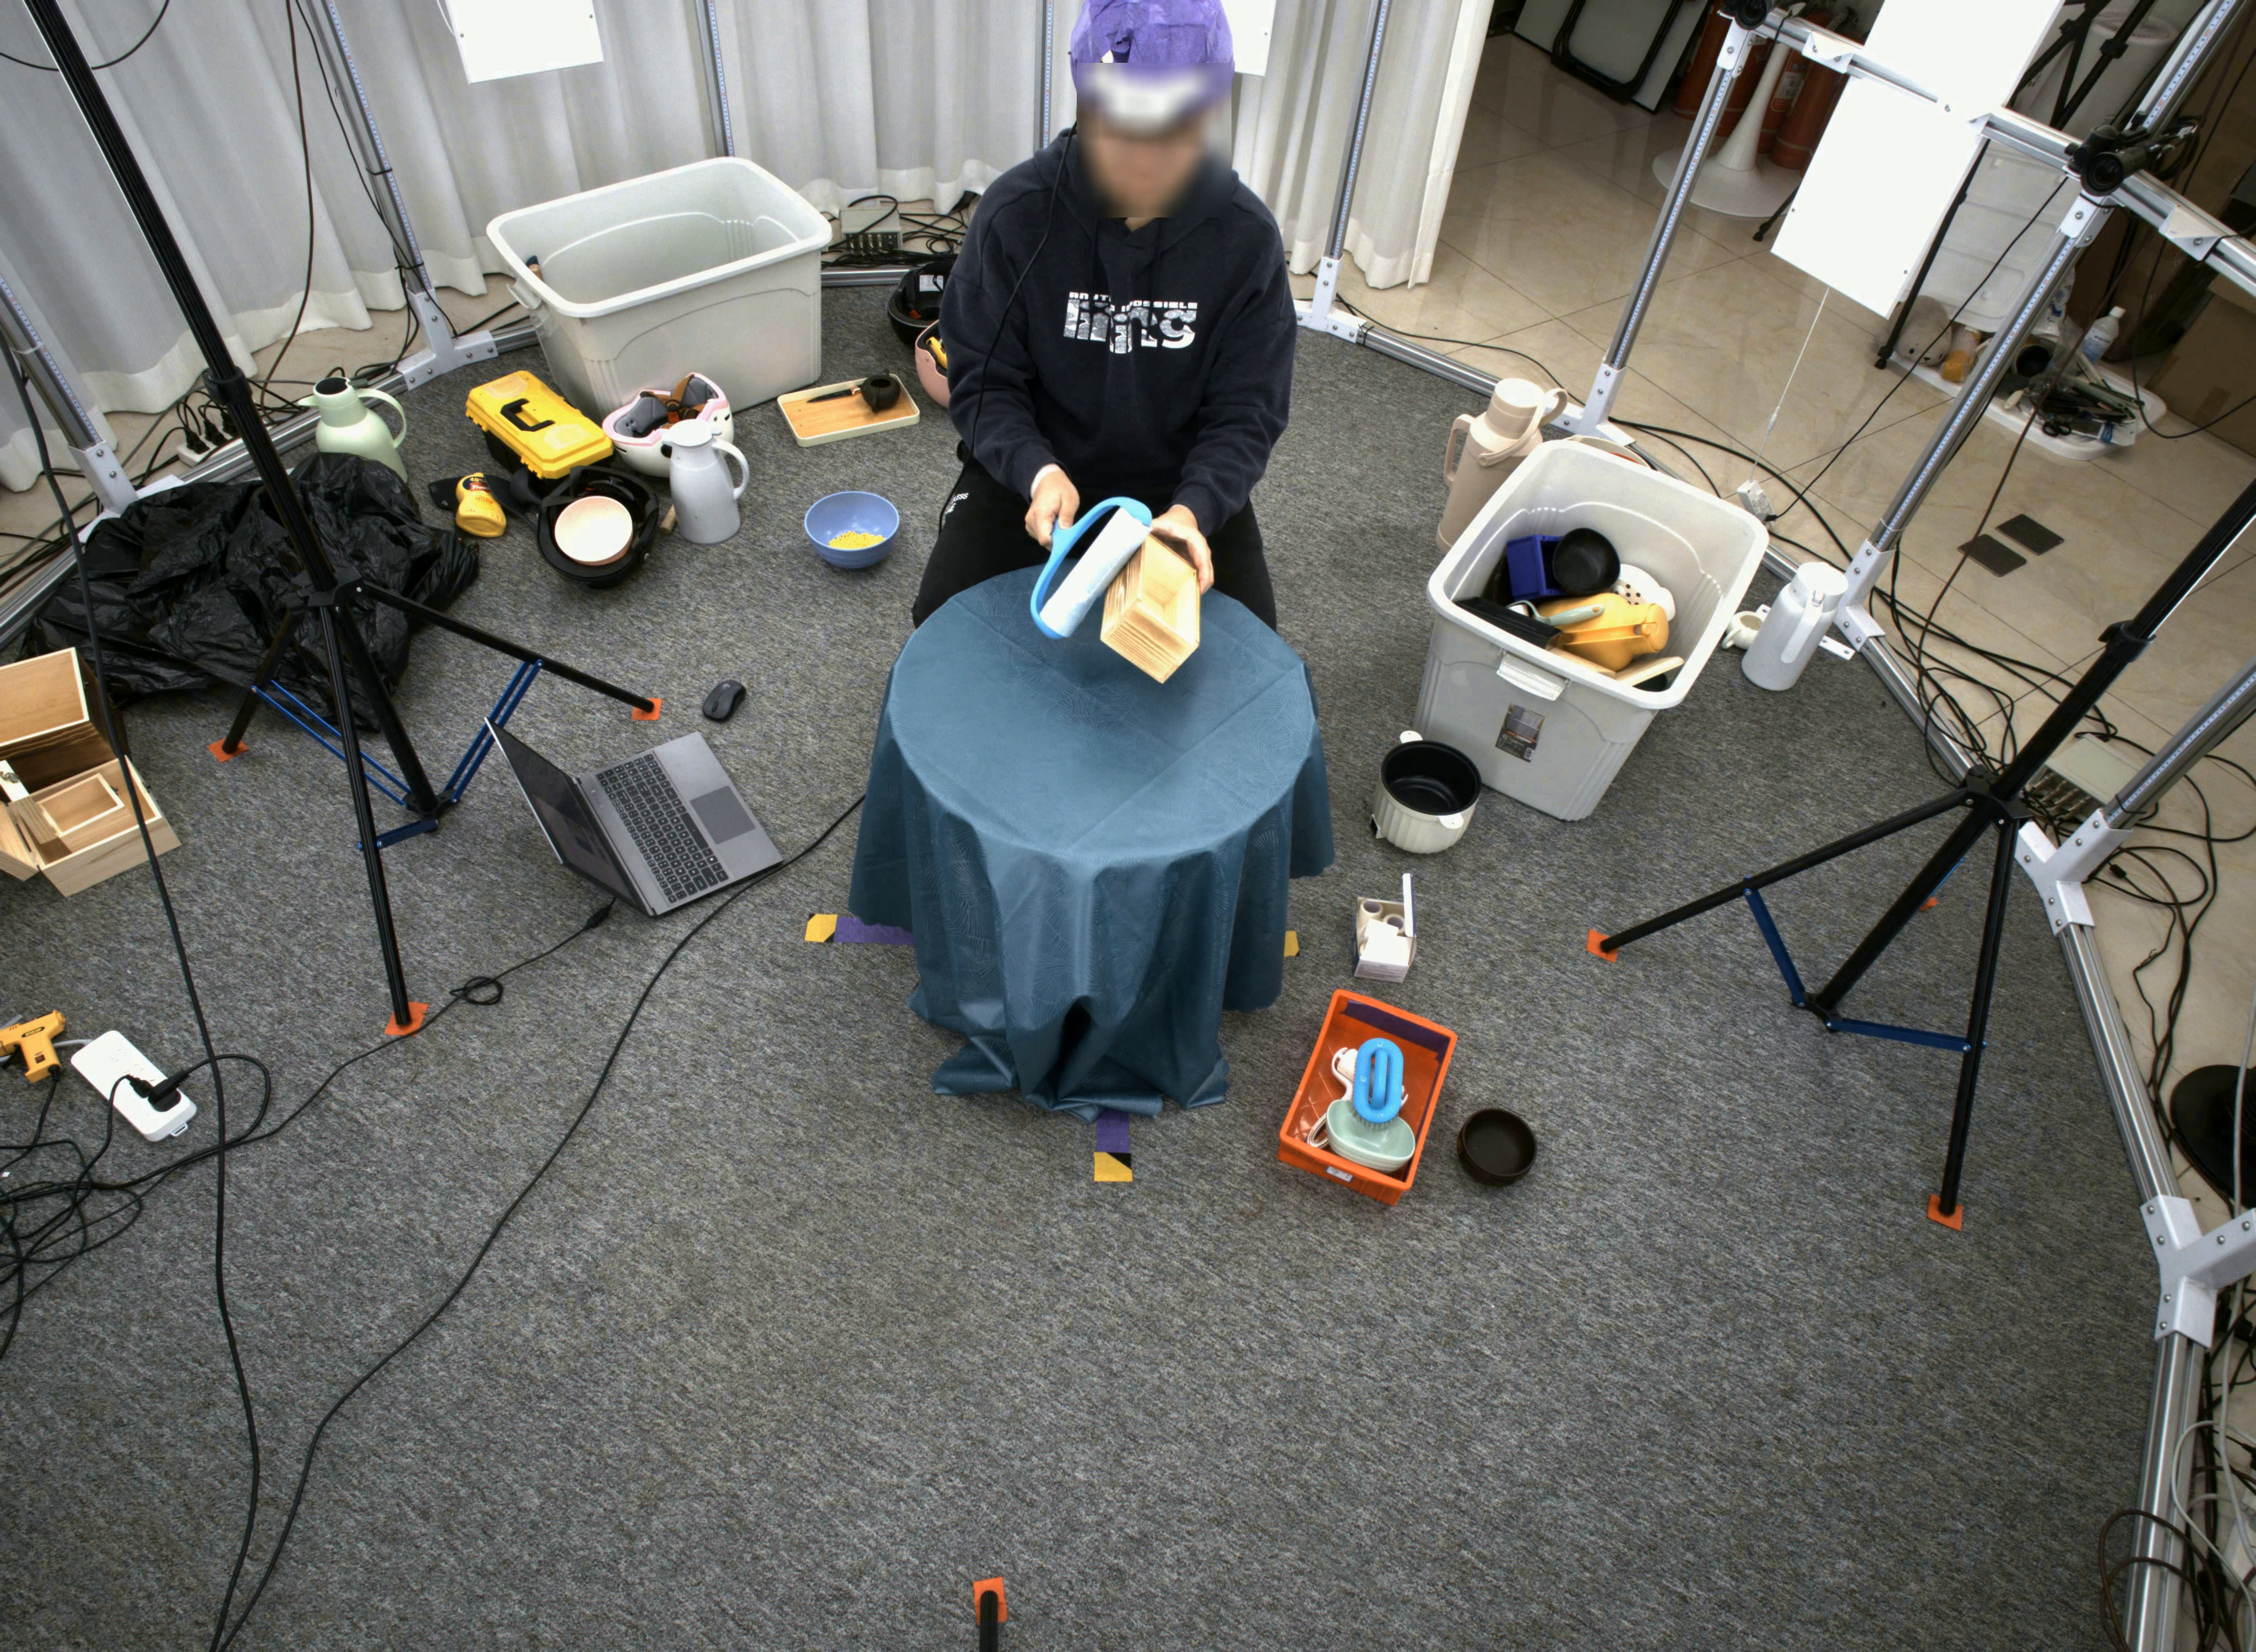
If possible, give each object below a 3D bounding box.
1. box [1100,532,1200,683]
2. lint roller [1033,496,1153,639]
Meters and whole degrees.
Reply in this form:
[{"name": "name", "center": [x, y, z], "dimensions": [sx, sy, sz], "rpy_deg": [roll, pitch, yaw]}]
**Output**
[{"name": "box", "center": [0.033, -0.304, 1.754], "dimensions": [0.106, 0.079, 0.216], "rpy_deg": [33, 32, -20]}, {"name": "lint roller", "center": [-0.075, -0.392, 1.811], "dimensions": [0.067, 0.226, 0.184], "rpy_deg": [12, 33, -49]}]
